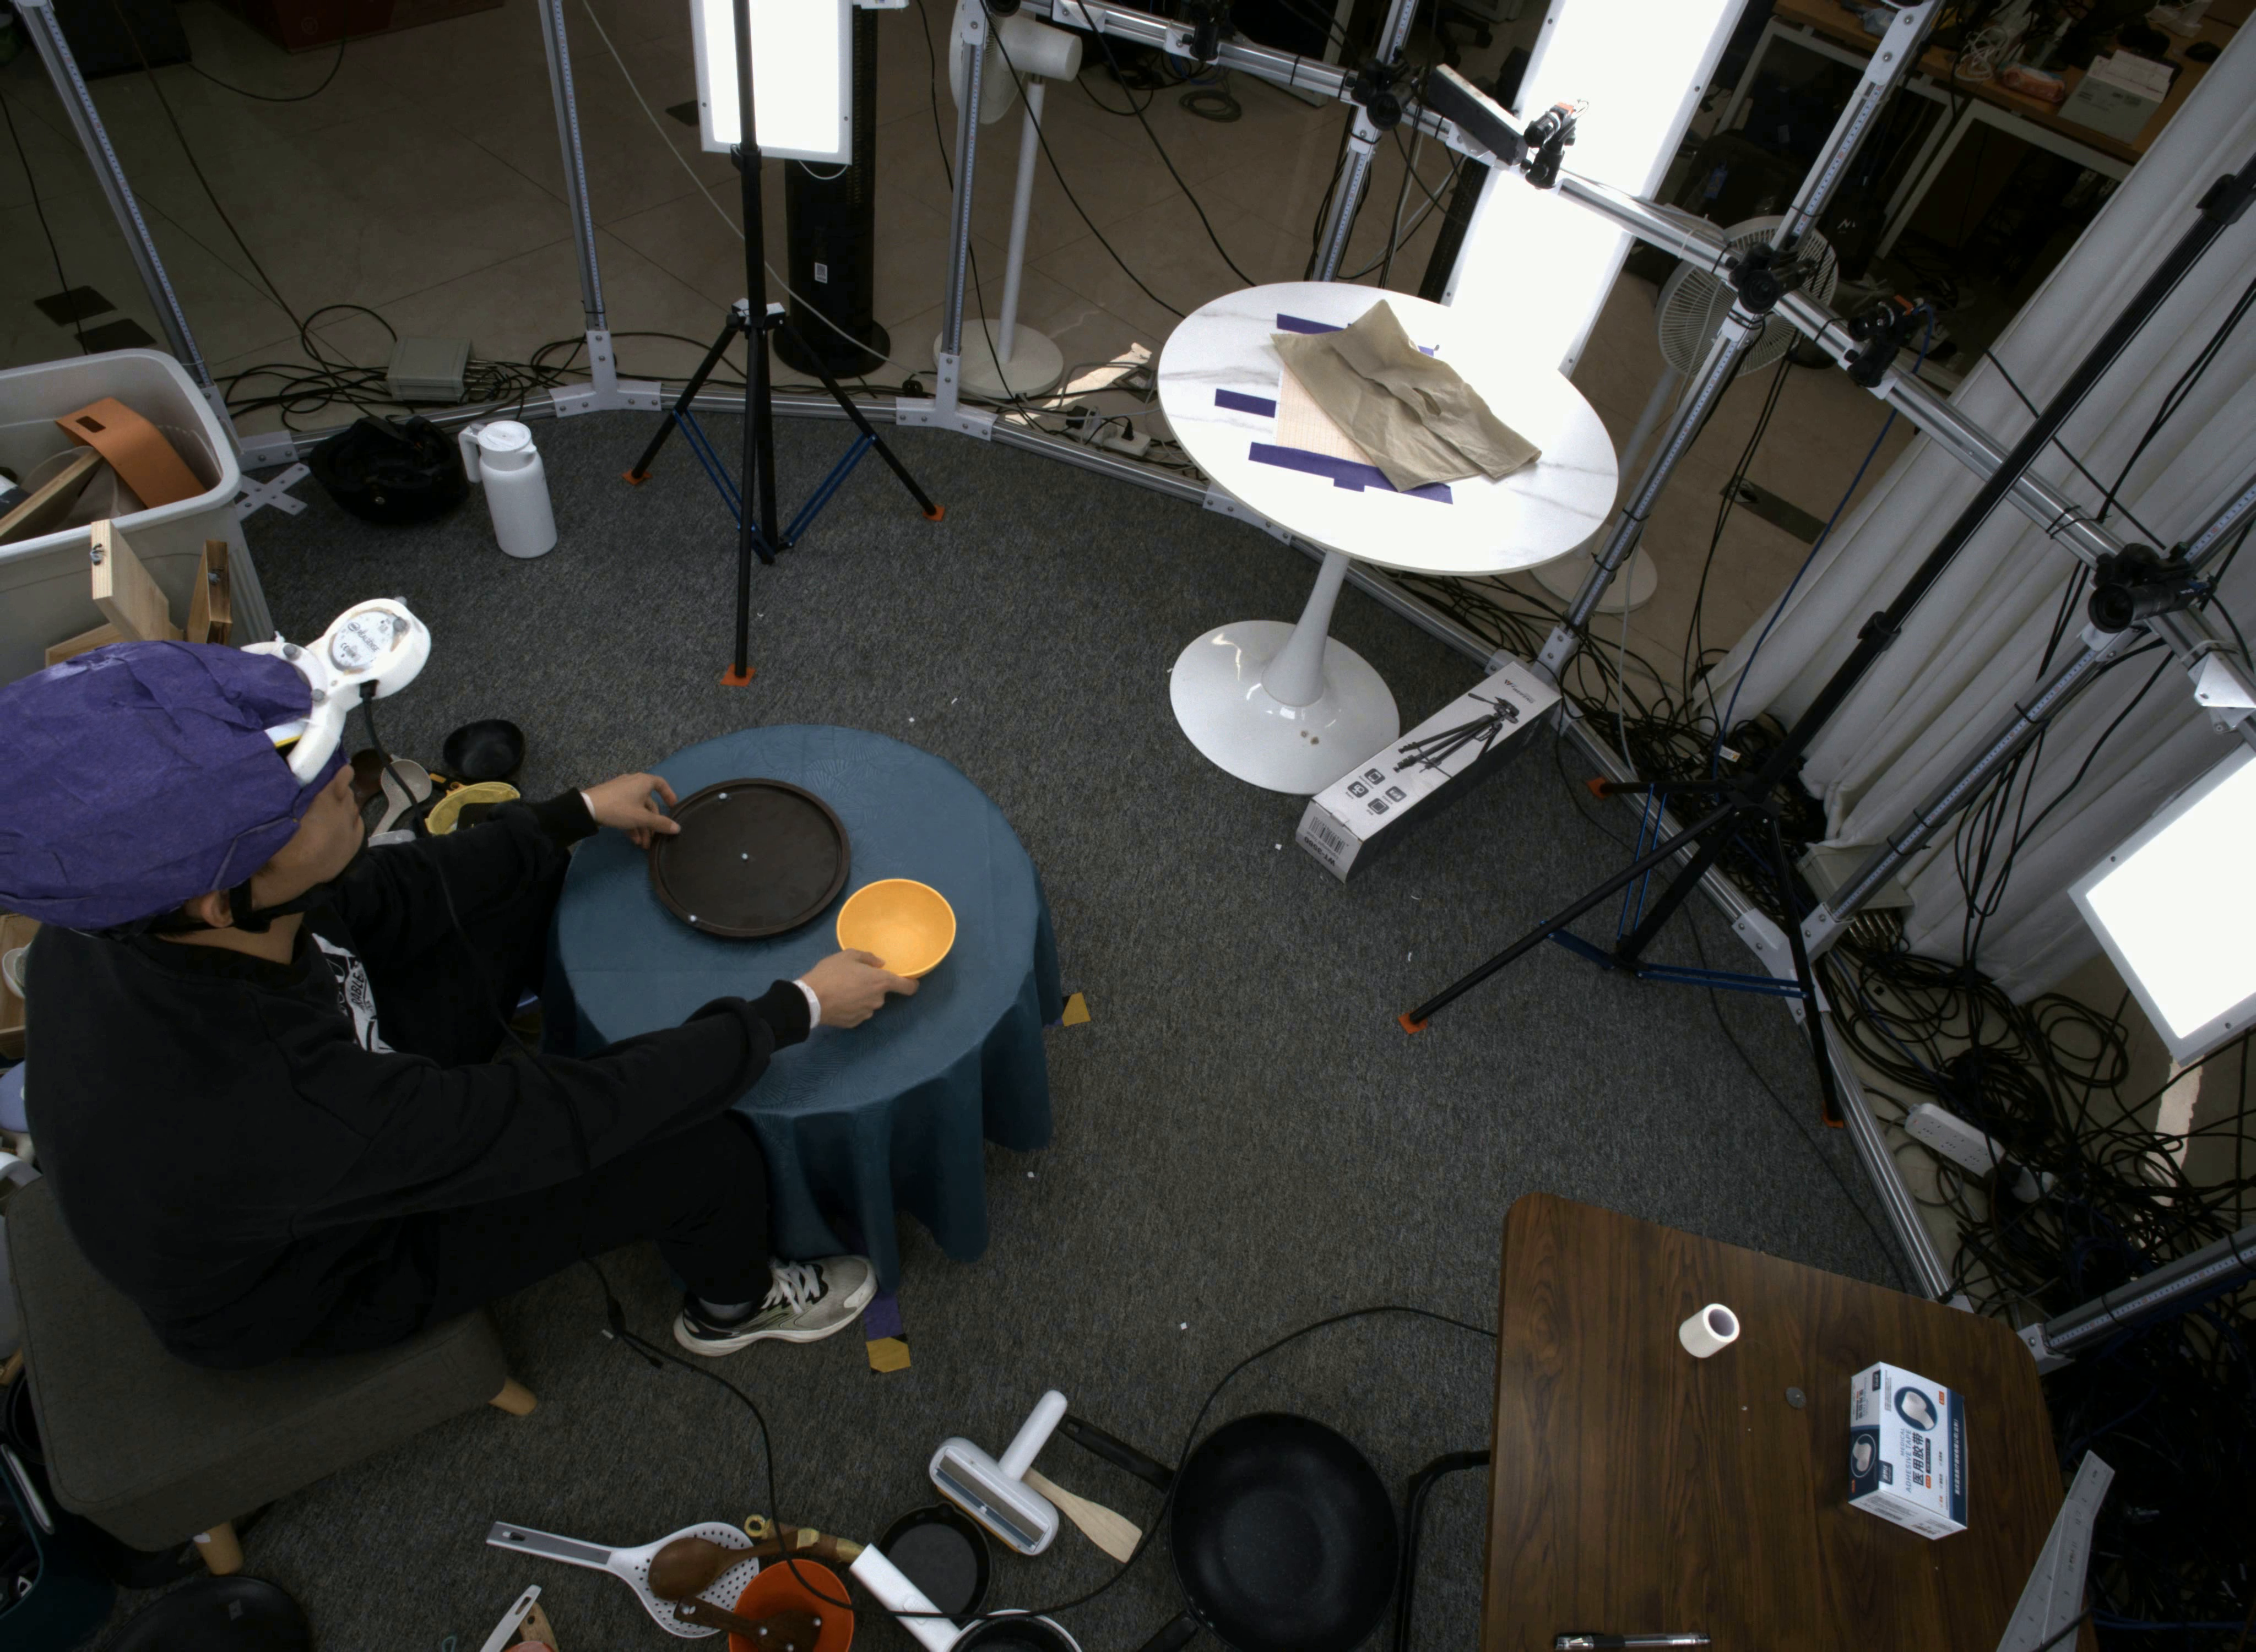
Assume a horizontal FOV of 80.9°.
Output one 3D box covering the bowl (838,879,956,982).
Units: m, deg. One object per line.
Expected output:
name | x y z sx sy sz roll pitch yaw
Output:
bowl | -0.287 0.140 1.623 0.144 0.061 0.143 5 53 -6

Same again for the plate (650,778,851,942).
plate | -0.485 0.041 1.668 0.254 0.029 0.250 8 54 -9
